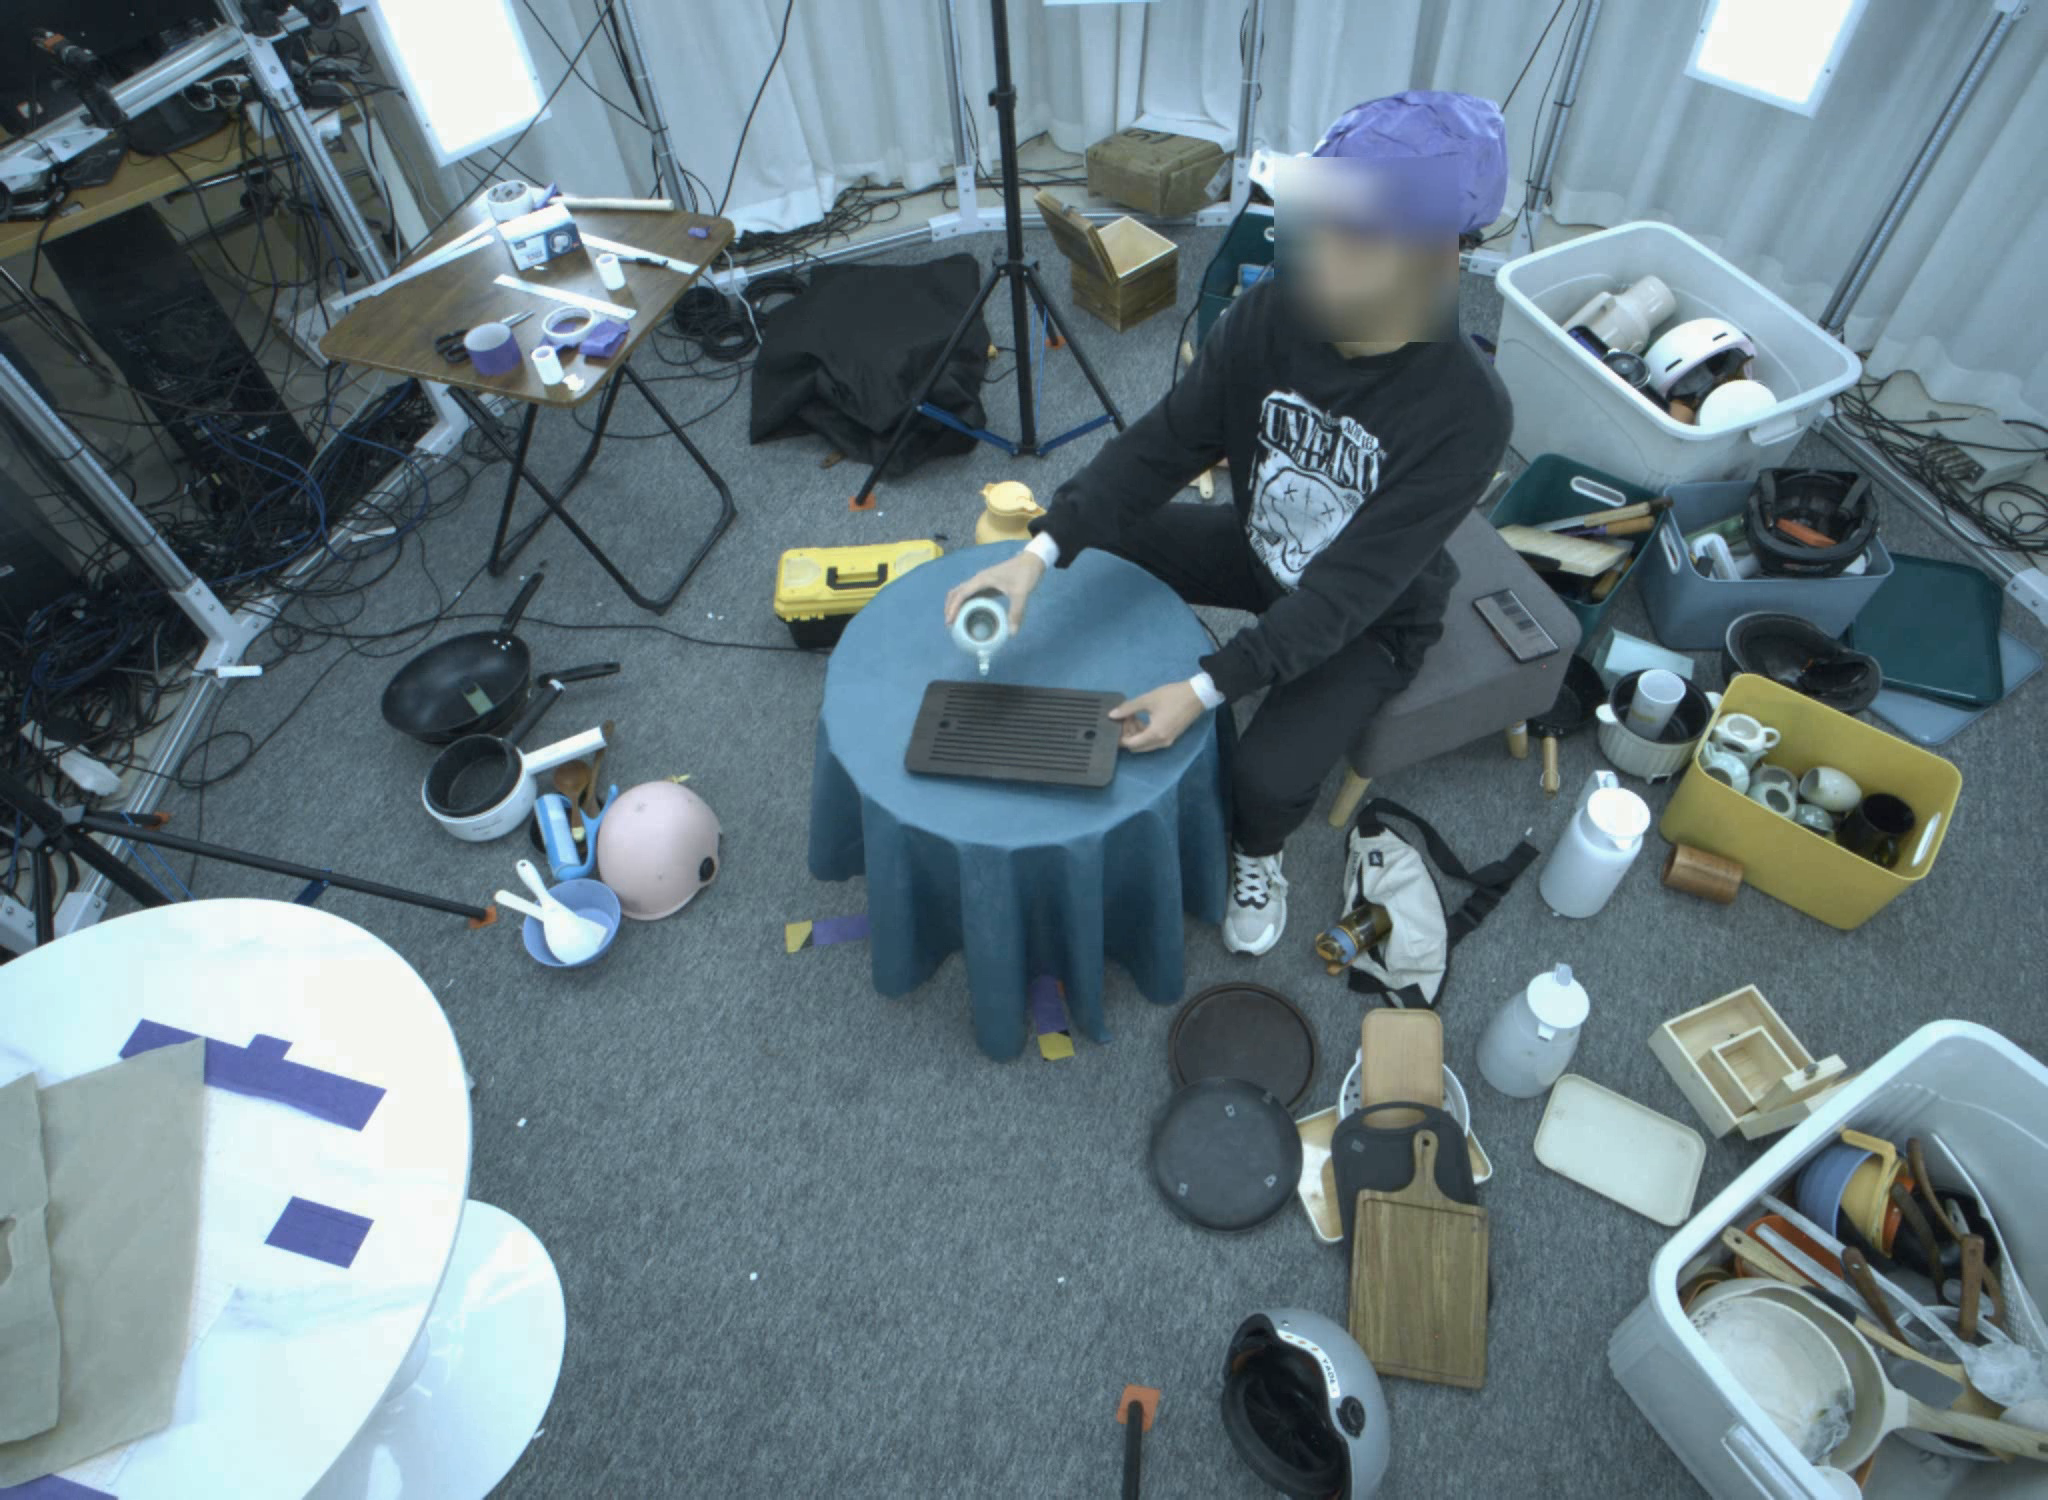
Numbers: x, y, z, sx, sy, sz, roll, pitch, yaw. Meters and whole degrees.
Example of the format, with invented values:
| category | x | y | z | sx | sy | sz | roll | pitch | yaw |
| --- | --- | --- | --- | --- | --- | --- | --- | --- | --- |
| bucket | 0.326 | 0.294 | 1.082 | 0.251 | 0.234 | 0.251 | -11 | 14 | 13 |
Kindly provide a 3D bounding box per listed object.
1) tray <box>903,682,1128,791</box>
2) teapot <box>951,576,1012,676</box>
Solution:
| category | x | y | z | sx | sy | sz | roll | pitch | yaw |
| --- | --- | --- | --- | --- | --- | --- | --- | --- | --- |
| tray | -0.011 | -0.020 | 1.775 | 0.304 | 0.019 | 0.169 | 5 | 55 | 10 |
| teapot | -0.062 | -0.178 | 1.774 | 0.089 | 0.074 | 0.144 | -3 | 93 | -5 |
